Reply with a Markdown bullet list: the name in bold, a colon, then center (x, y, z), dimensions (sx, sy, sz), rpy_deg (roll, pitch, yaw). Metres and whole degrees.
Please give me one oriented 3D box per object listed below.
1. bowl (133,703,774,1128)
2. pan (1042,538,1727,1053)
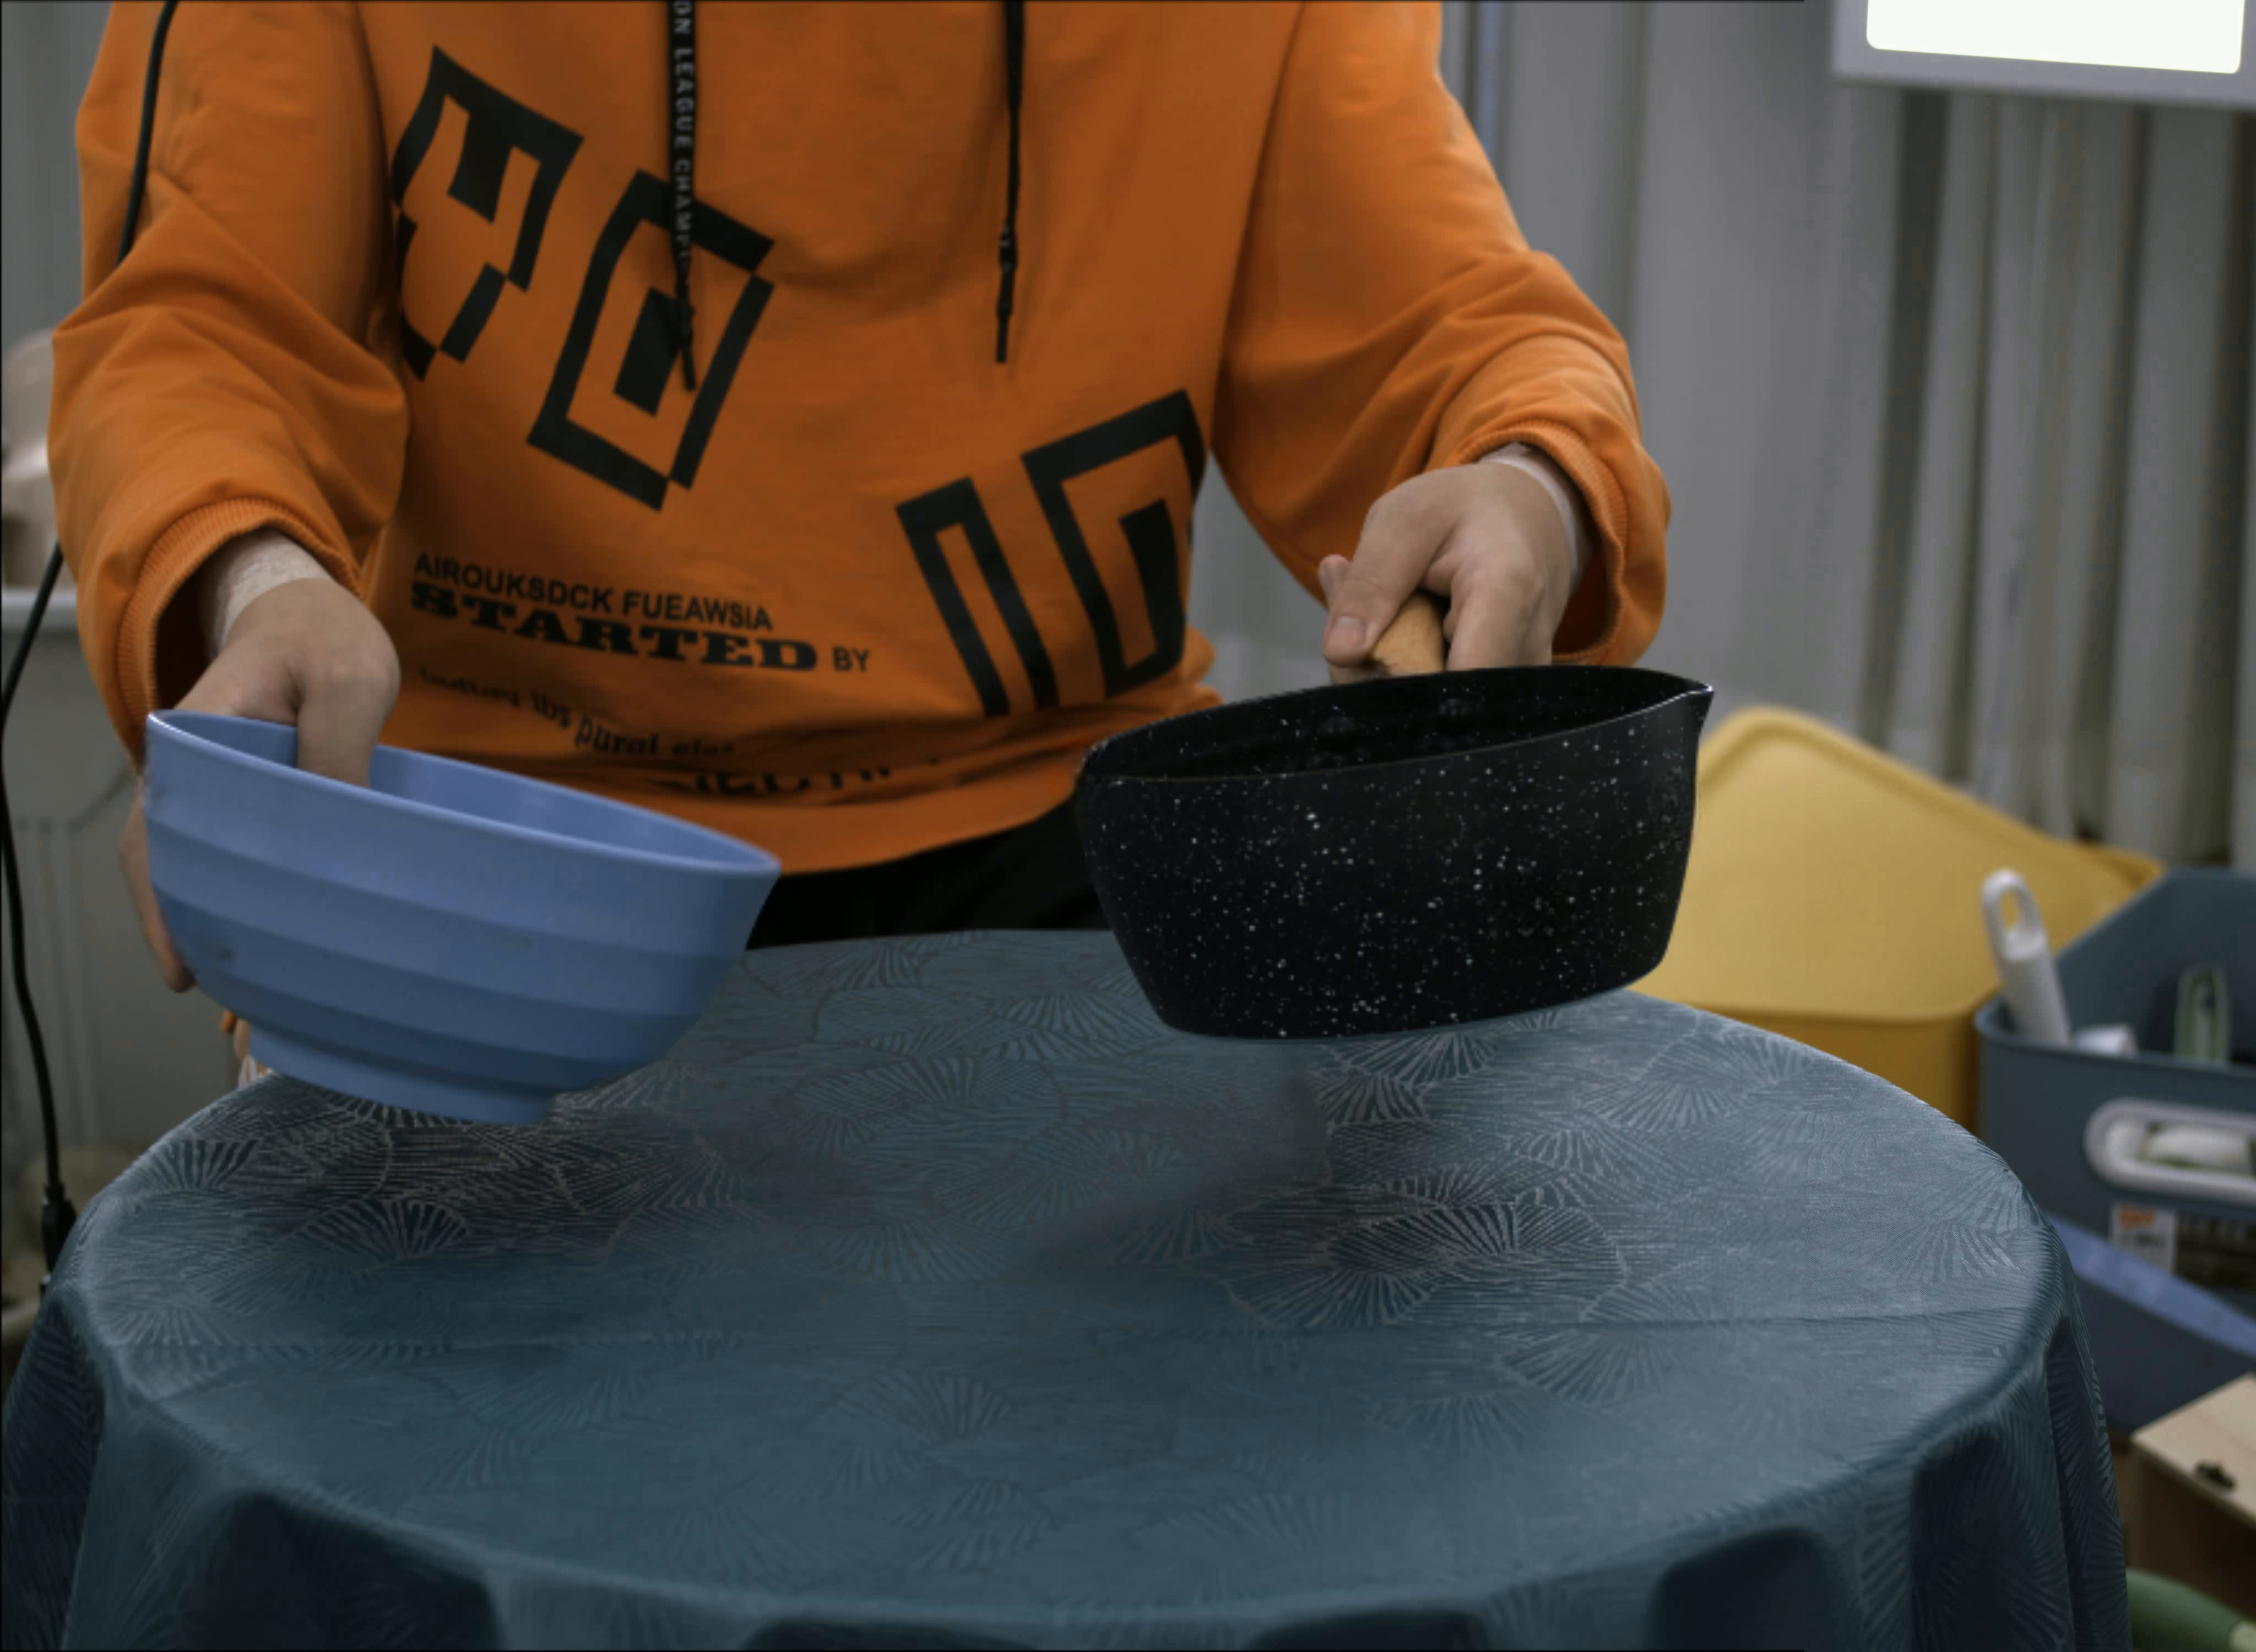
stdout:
- **bowl**: center (-0.213, 0.033, 1.585), dimensions (0.196, 0.096, 0.196), rpy_deg (15, 3, 0)
- **pan**: center (0.085, -0.015, 1.643), dimensions (0.206, 0.109, 0.342), rpy_deg (-8, 10, 6)
